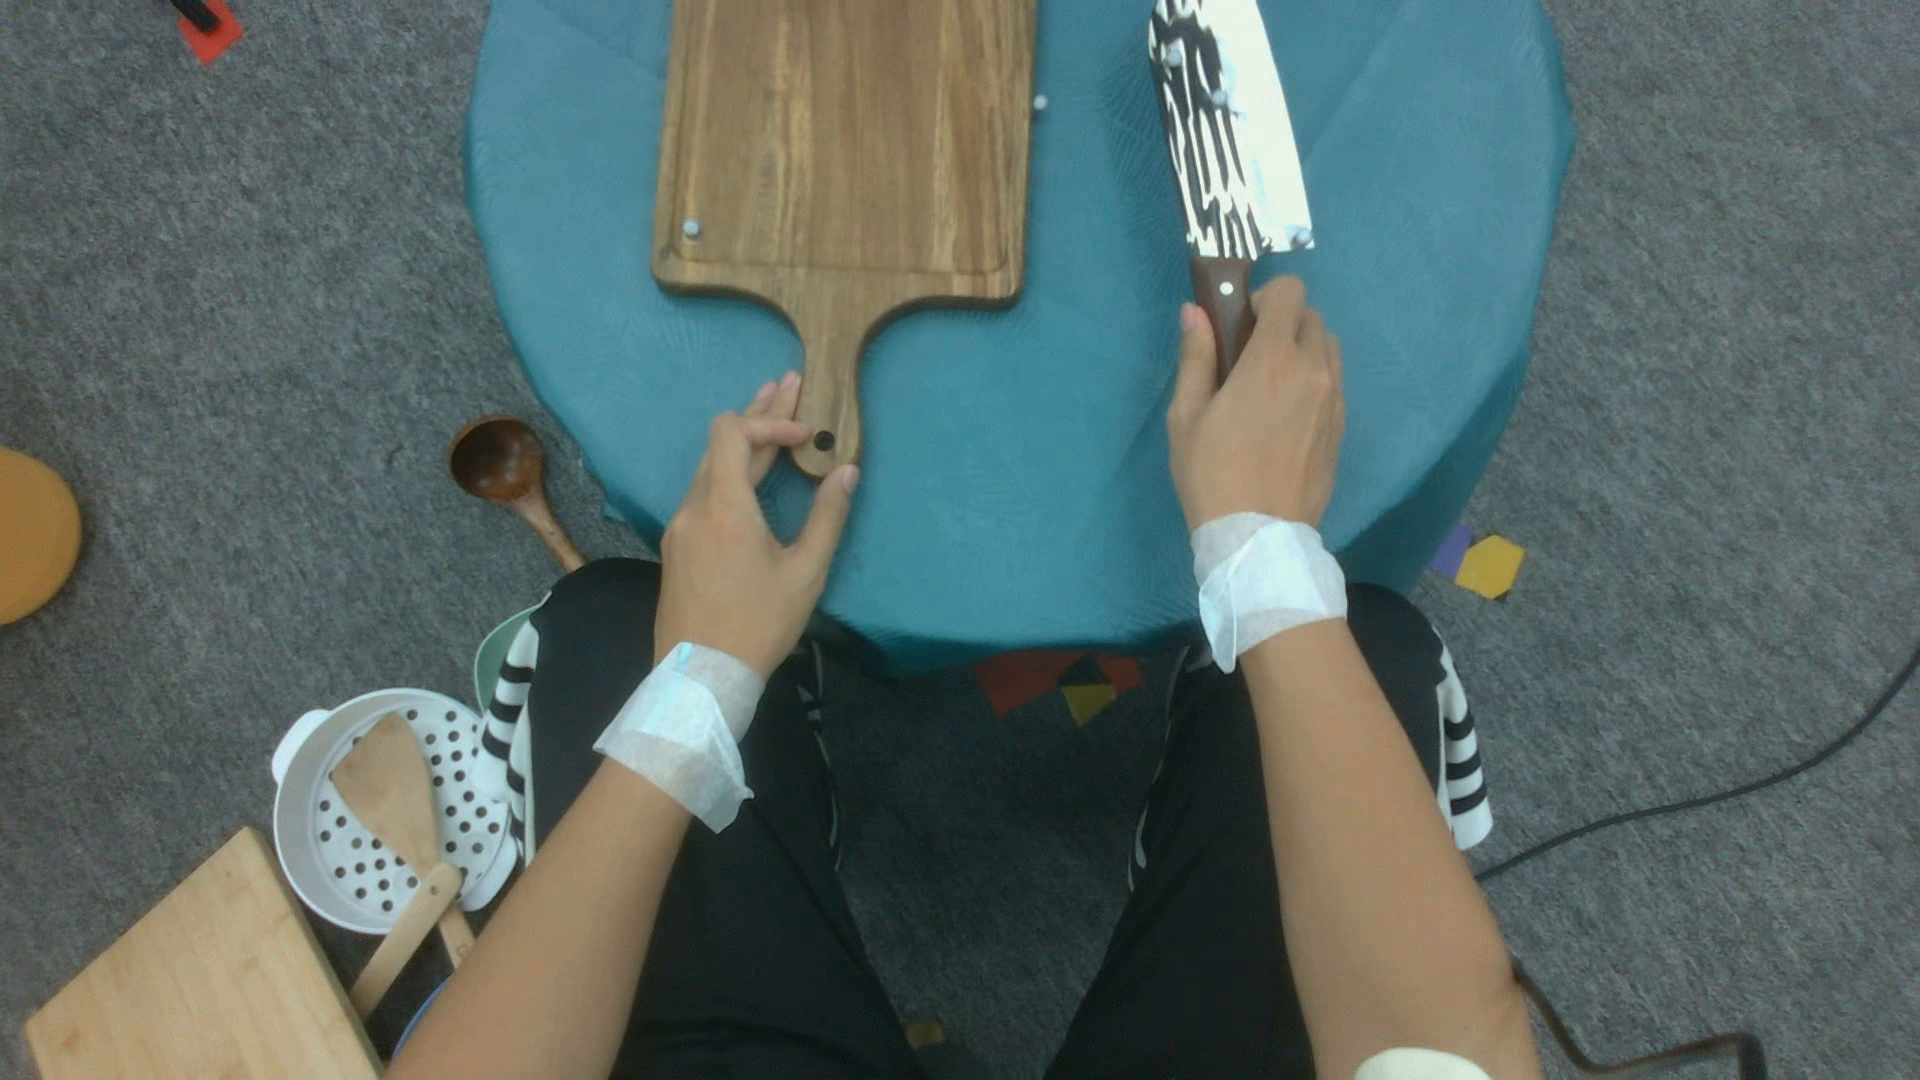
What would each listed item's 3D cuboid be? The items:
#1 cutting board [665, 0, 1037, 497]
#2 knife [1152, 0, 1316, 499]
[{"bbox_3d":[-0.059,-0.197,0.758,0.201,0.023,0.353,2,78,1],"label":"cutting board"},{"bbox_3d":[0.149,-0.170,0.720,0.068,0.024,0.300,-7,79,-5],"label":"knife"}]
